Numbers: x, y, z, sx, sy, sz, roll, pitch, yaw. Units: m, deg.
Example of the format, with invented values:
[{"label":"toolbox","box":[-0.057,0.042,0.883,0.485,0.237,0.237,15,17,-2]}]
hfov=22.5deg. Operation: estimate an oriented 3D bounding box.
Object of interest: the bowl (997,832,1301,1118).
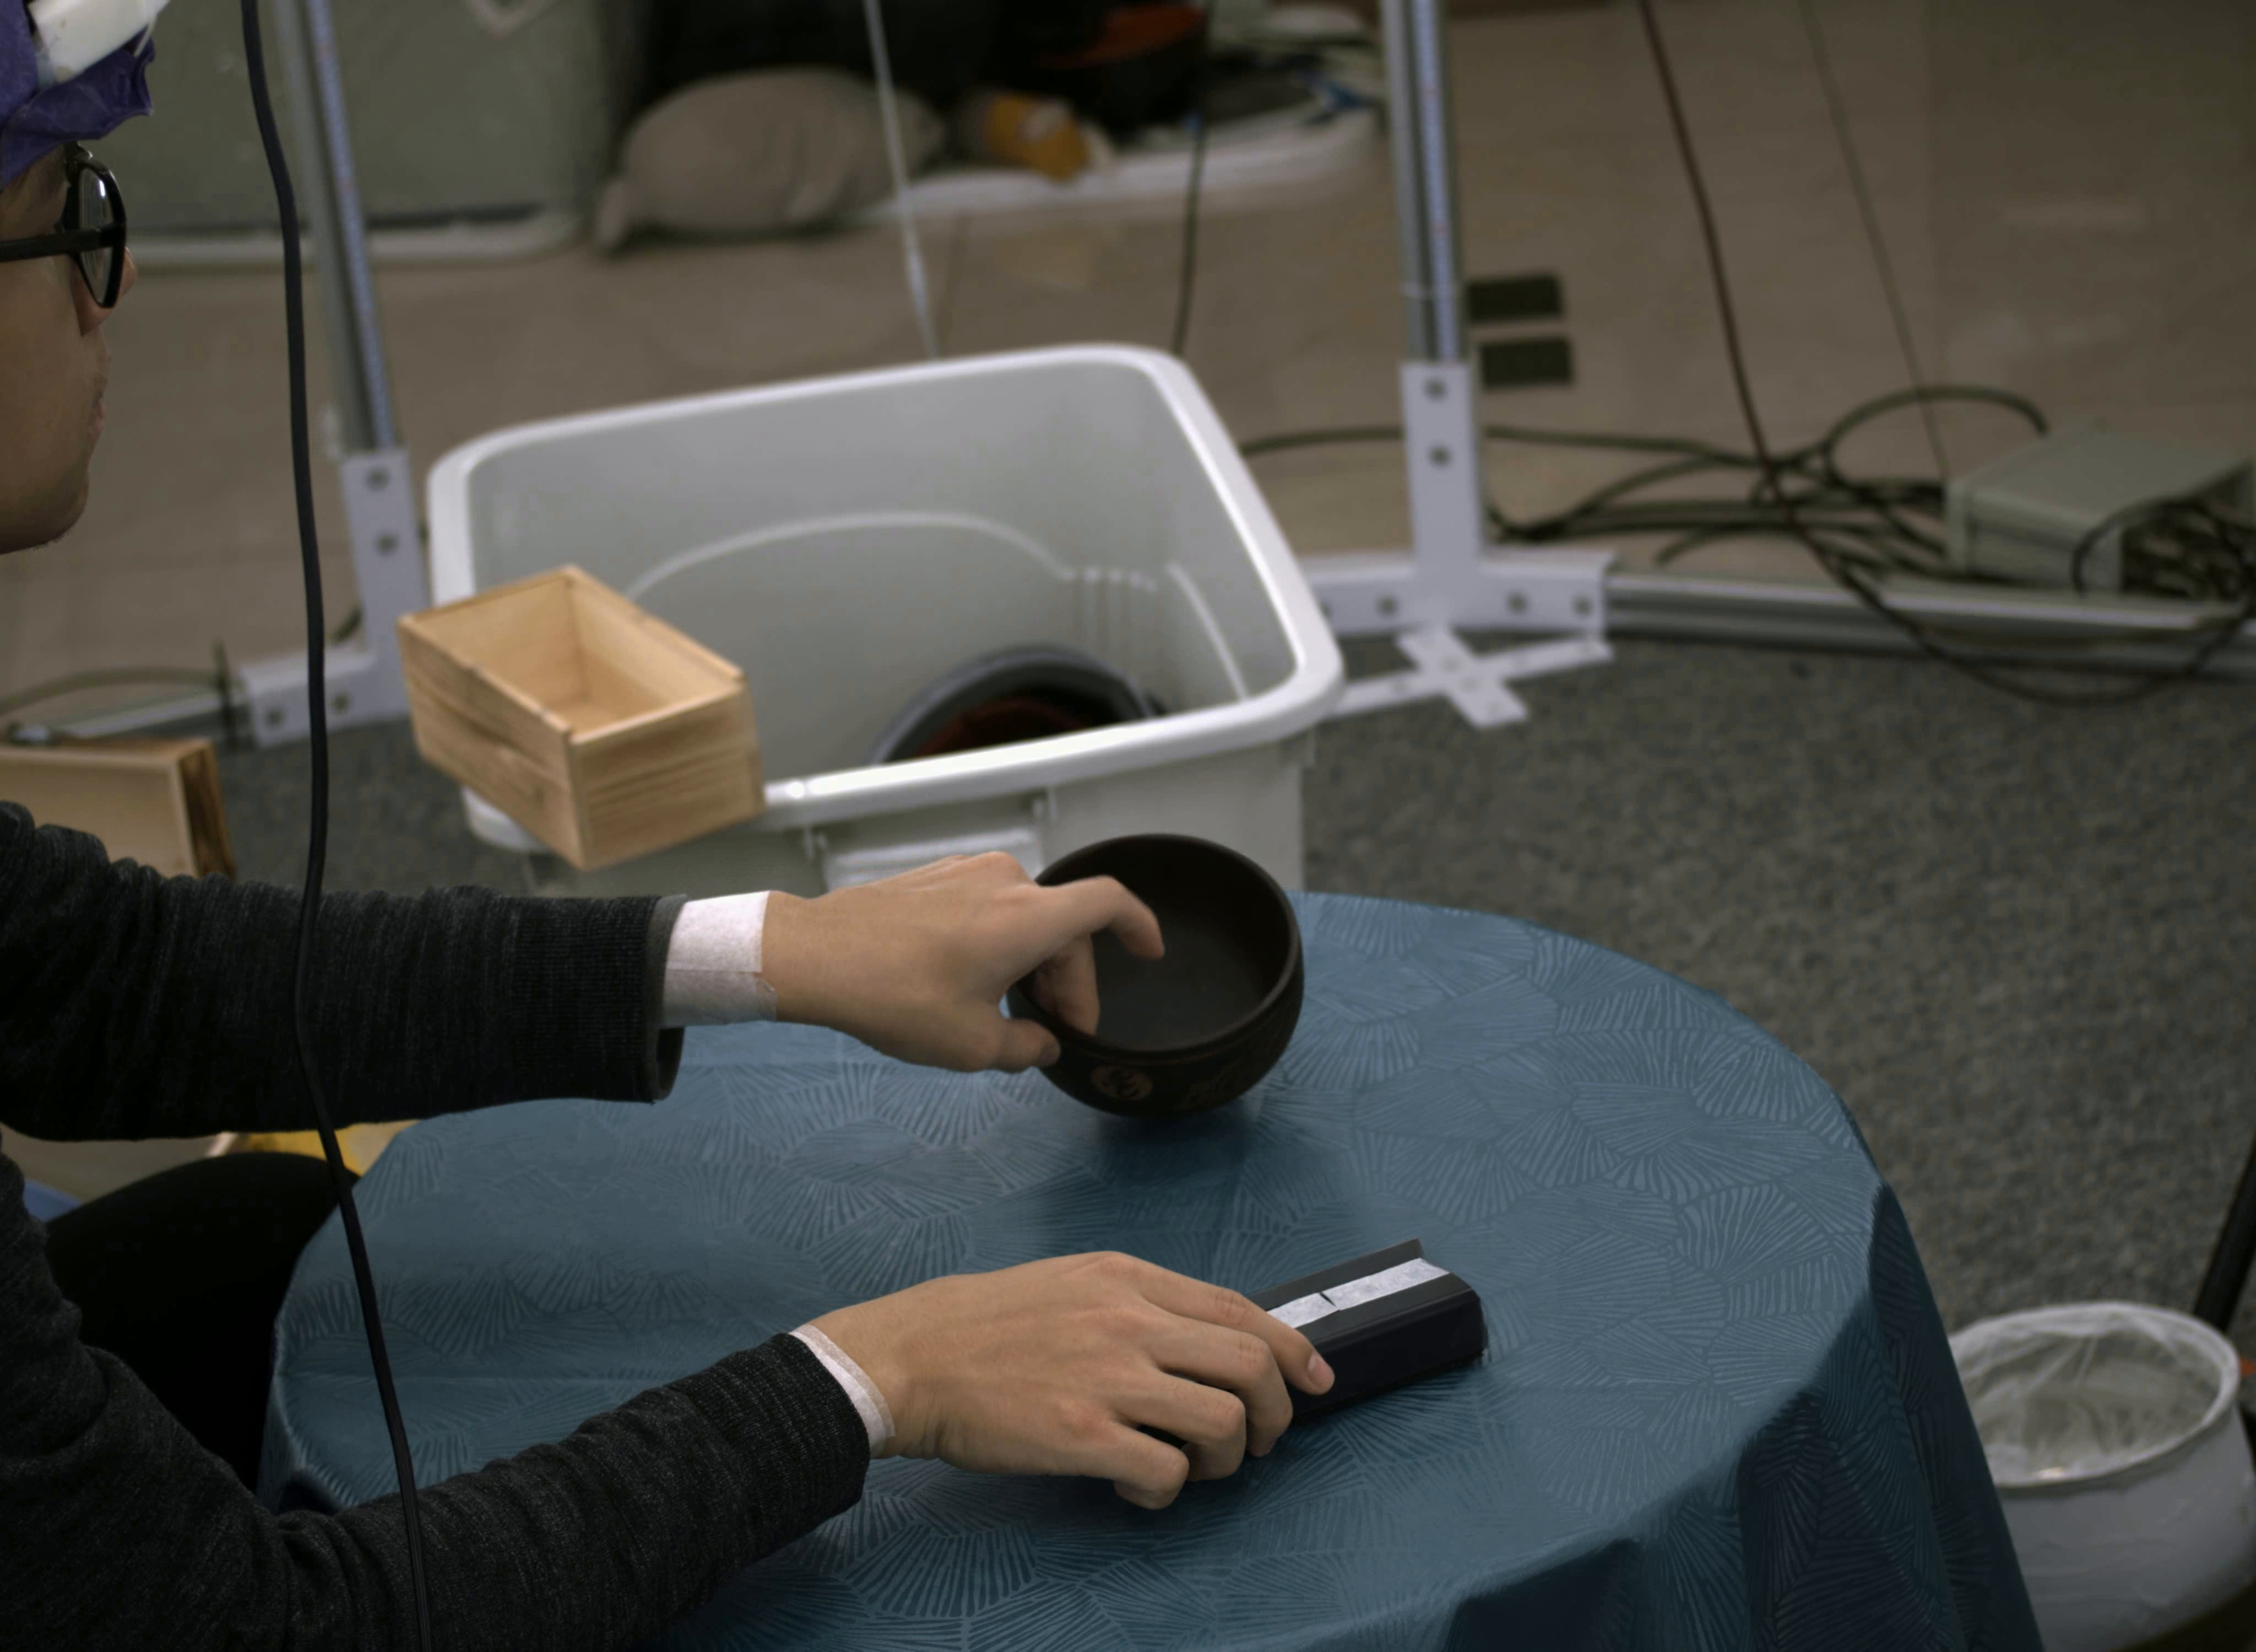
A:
[{"label":"bowl","box":[0.009,0.066,2.200,0.118,0.071,0.116,-2,47,2]}]

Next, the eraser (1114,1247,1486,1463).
[{"label":"eraser","box":[0.061,0.185,2.000,0.125,0.031,0.053,-18,24,-22]}]
